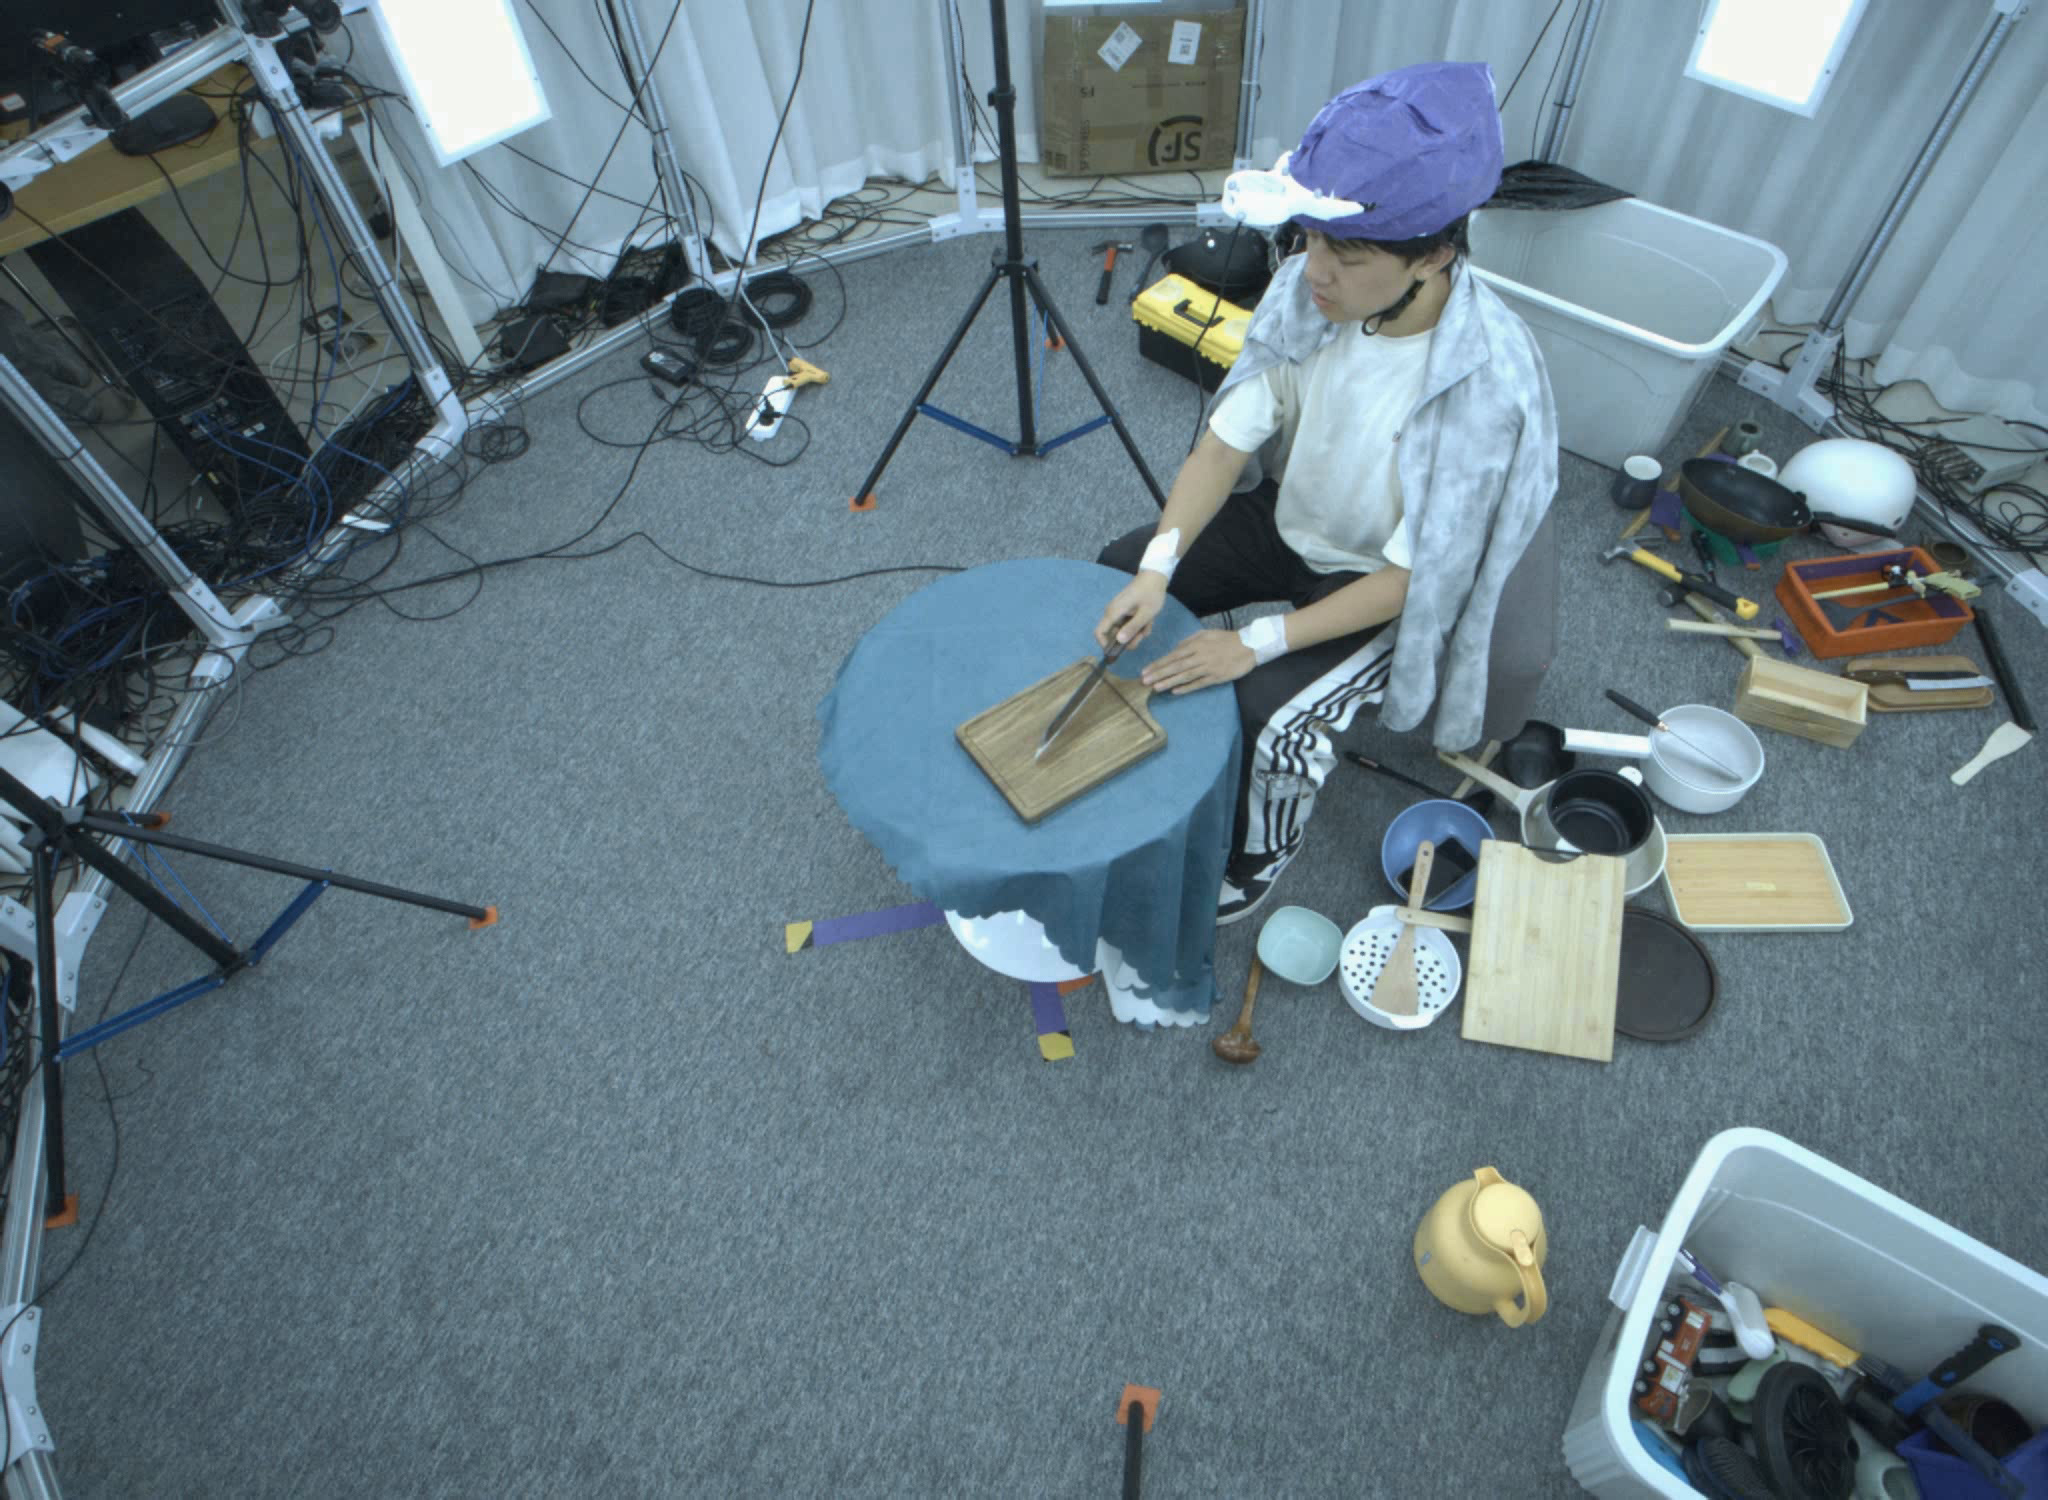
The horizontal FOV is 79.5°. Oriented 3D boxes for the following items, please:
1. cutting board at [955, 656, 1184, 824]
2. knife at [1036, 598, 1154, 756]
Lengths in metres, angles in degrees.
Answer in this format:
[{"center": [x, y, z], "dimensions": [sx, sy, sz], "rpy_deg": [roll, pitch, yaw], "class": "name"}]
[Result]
[{"center": [0.094, -0.044, 1.807], "dimensions": [0.355, 0.023, 0.197], "rpy_deg": [-30, 57, -19], "class": "cutting board"}, {"center": [0.103, -0.108, 1.798], "dimensions": [0.024, 0.068, 0.300], "rpy_deg": [32, 65, 13], "class": "knife"}]
